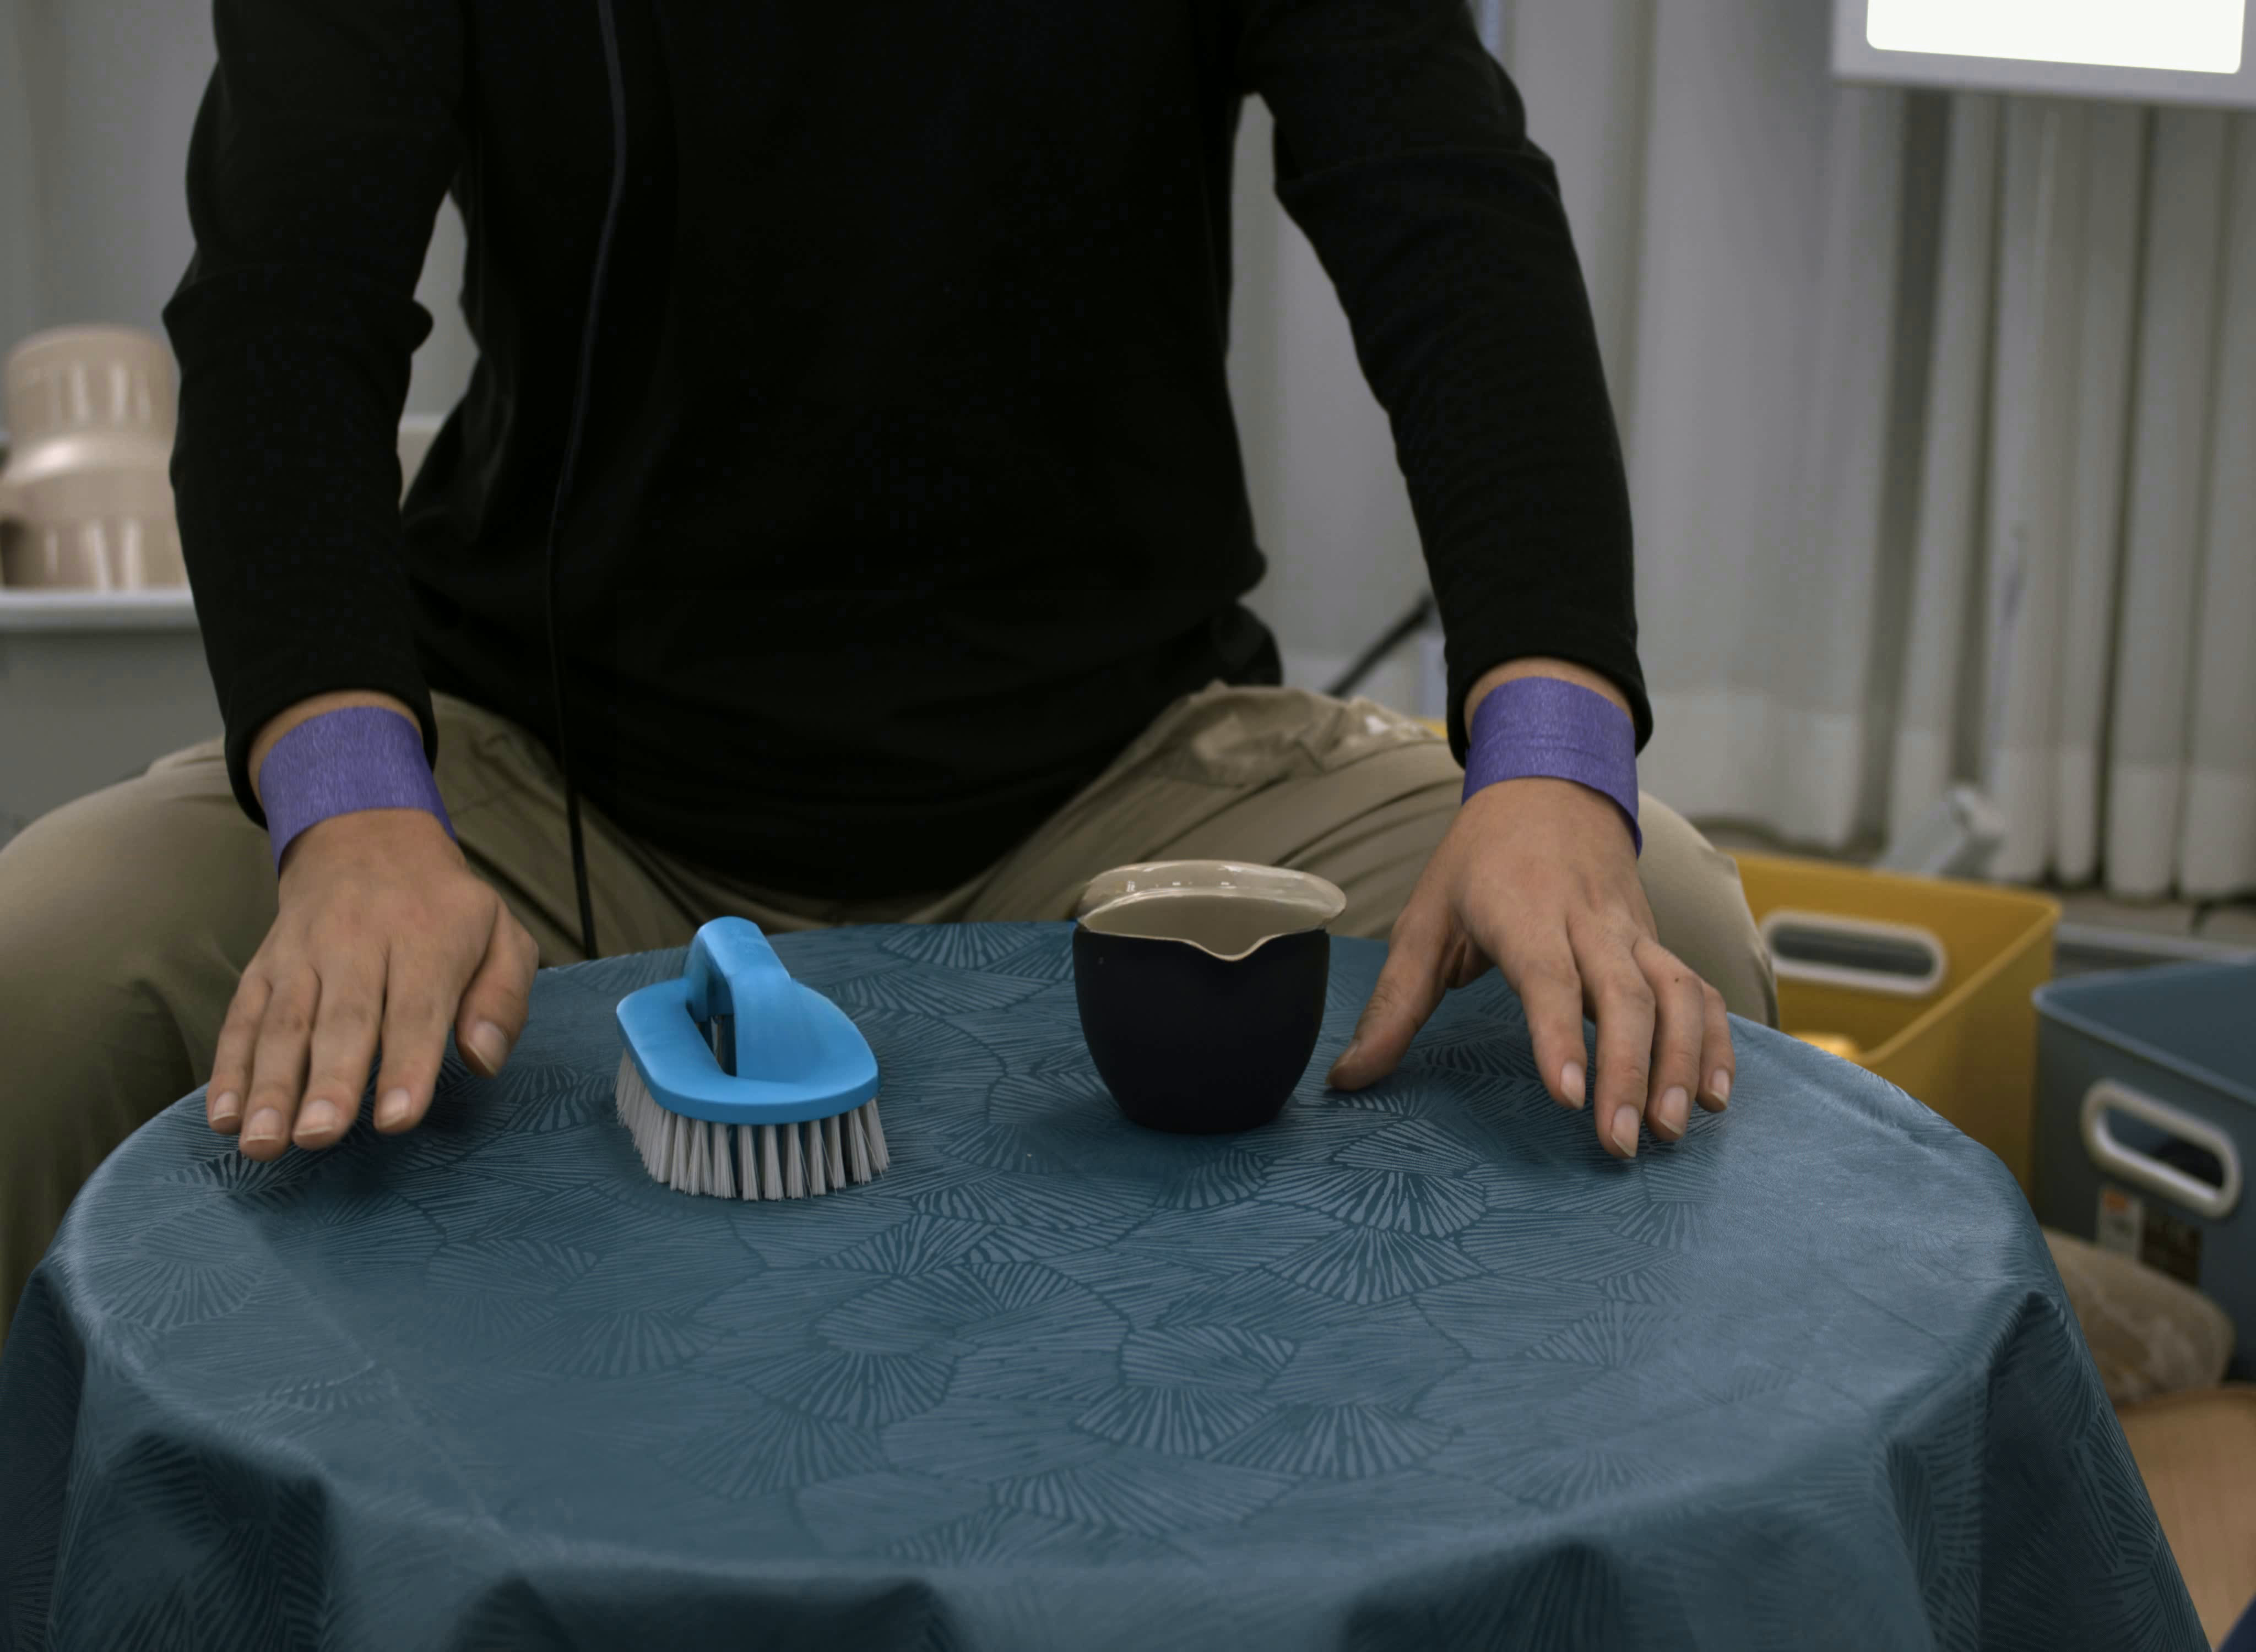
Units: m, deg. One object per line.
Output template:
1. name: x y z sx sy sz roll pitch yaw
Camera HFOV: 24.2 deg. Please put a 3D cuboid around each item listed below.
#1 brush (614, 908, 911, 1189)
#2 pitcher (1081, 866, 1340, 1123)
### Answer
1. brush: -0.119 0.064 1.666 0.084 0.064 0.140 -7 16 -12
2. pitcher: 0.026 0.055 1.687 0.083 0.072 0.095 0 17 -4
